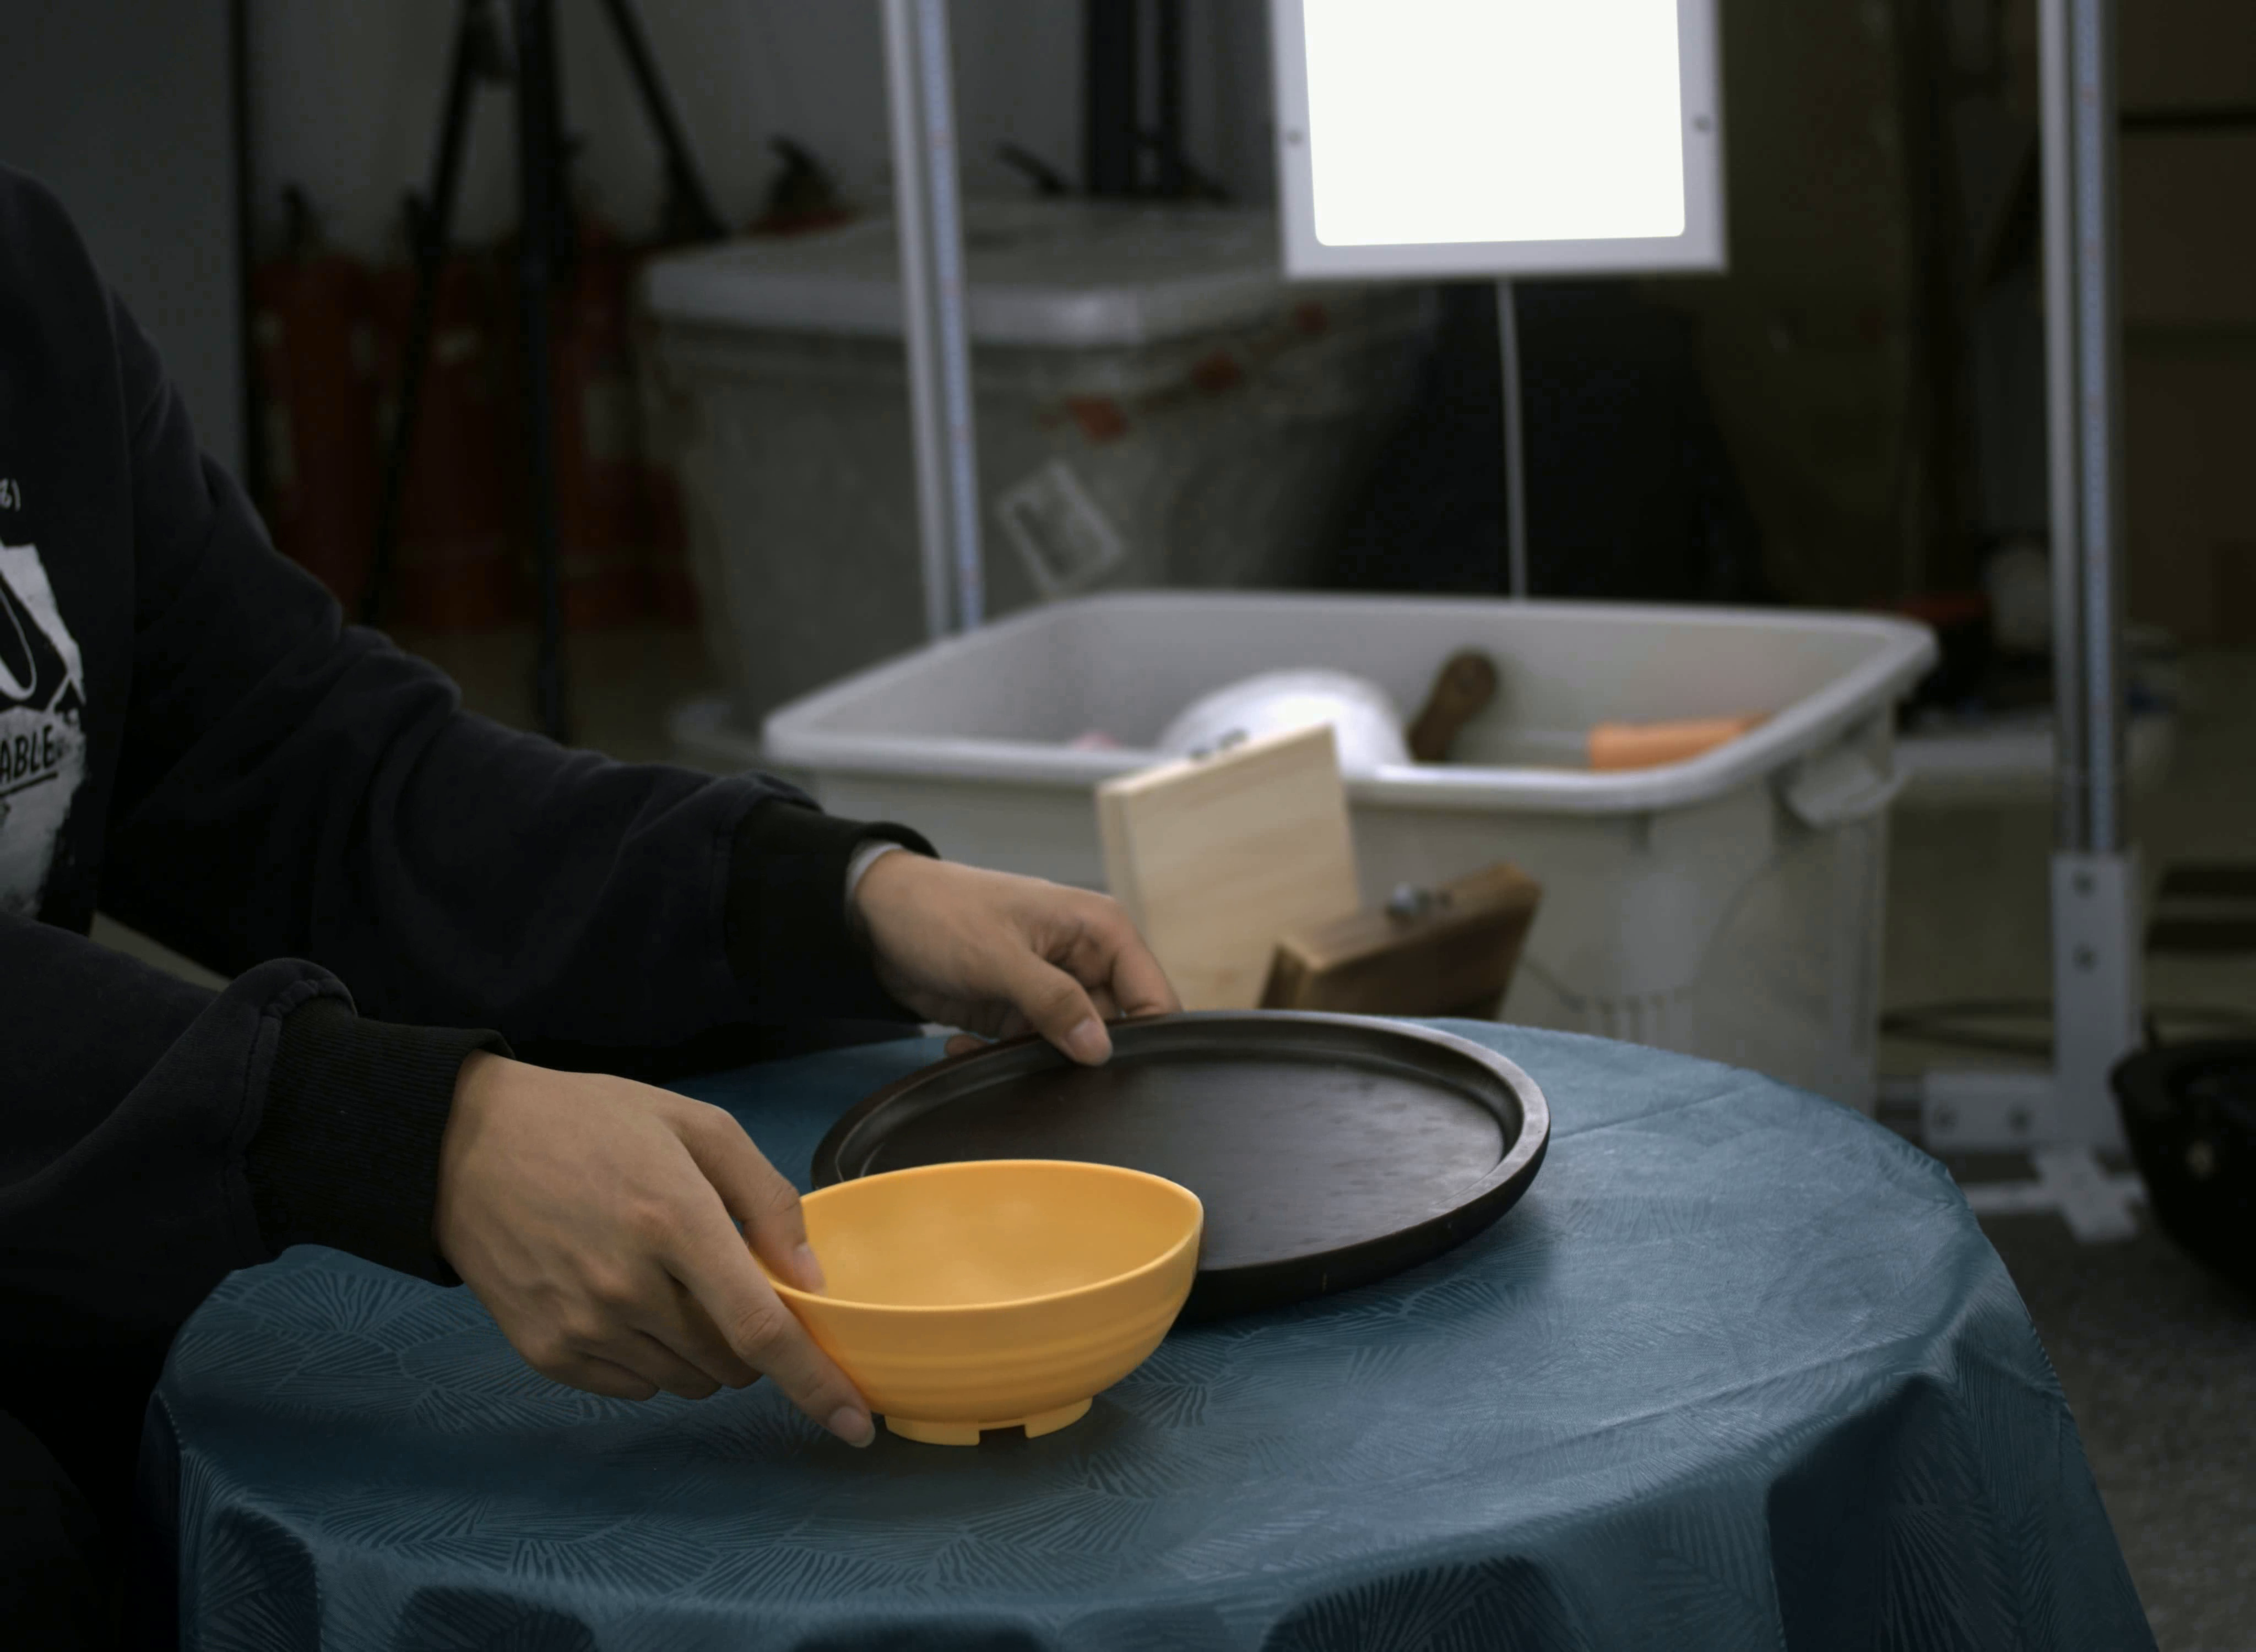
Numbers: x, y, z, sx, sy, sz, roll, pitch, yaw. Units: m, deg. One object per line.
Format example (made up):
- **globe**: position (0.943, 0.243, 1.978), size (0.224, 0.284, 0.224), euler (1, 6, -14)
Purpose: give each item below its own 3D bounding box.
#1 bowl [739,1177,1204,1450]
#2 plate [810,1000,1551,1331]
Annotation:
- **bowl**: position (-0.045, 0.153, 1.688), size (0.145, 0.060, 0.145), euler (-6, 11, 0)
- **plate**: position (0.018, 0.114, 1.868), size (0.254, 0.029, 0.254), euler (-6, 18, 1)
